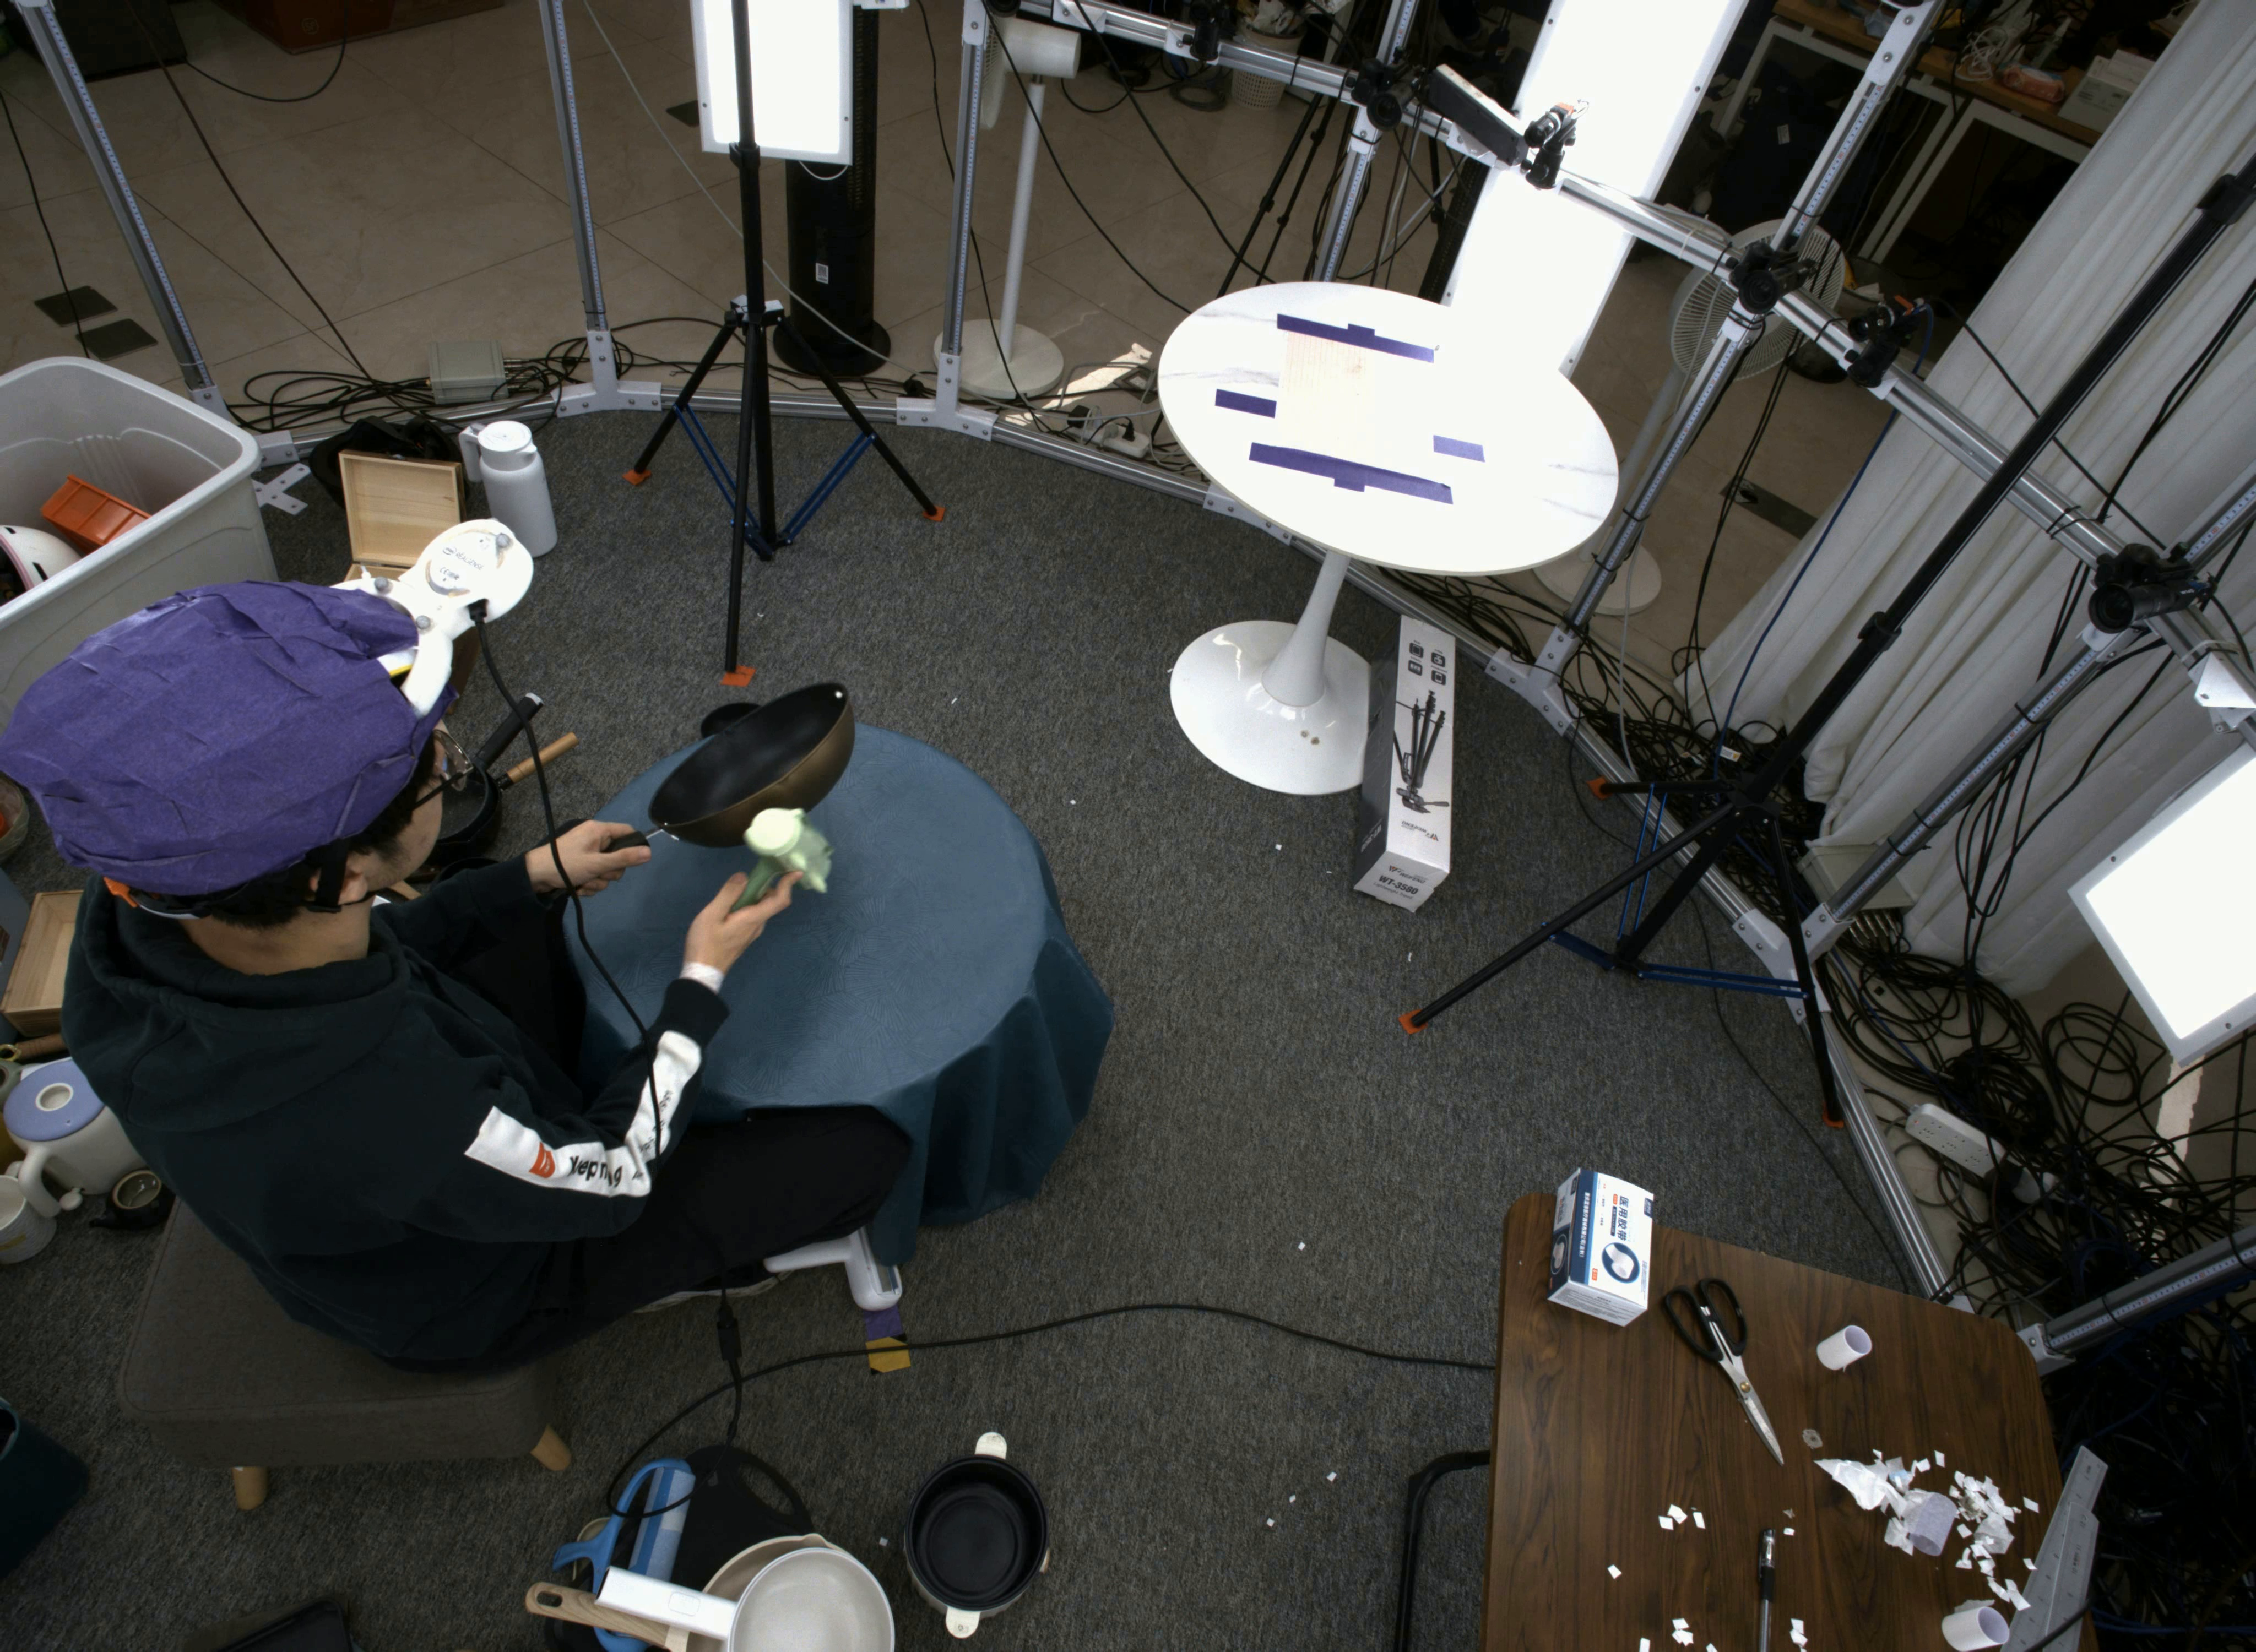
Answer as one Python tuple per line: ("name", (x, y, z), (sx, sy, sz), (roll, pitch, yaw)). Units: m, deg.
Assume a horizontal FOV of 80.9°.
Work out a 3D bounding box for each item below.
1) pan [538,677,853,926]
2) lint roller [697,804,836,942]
("pan", (-0.504, -0.006, 1.527), (0.463, 0.090, 0.278), (-39, 30, -16))
("lint roller", (-0.410, 0.070, 1.480), (0.081, 0.200, 0.183), (33, 78, 7))
